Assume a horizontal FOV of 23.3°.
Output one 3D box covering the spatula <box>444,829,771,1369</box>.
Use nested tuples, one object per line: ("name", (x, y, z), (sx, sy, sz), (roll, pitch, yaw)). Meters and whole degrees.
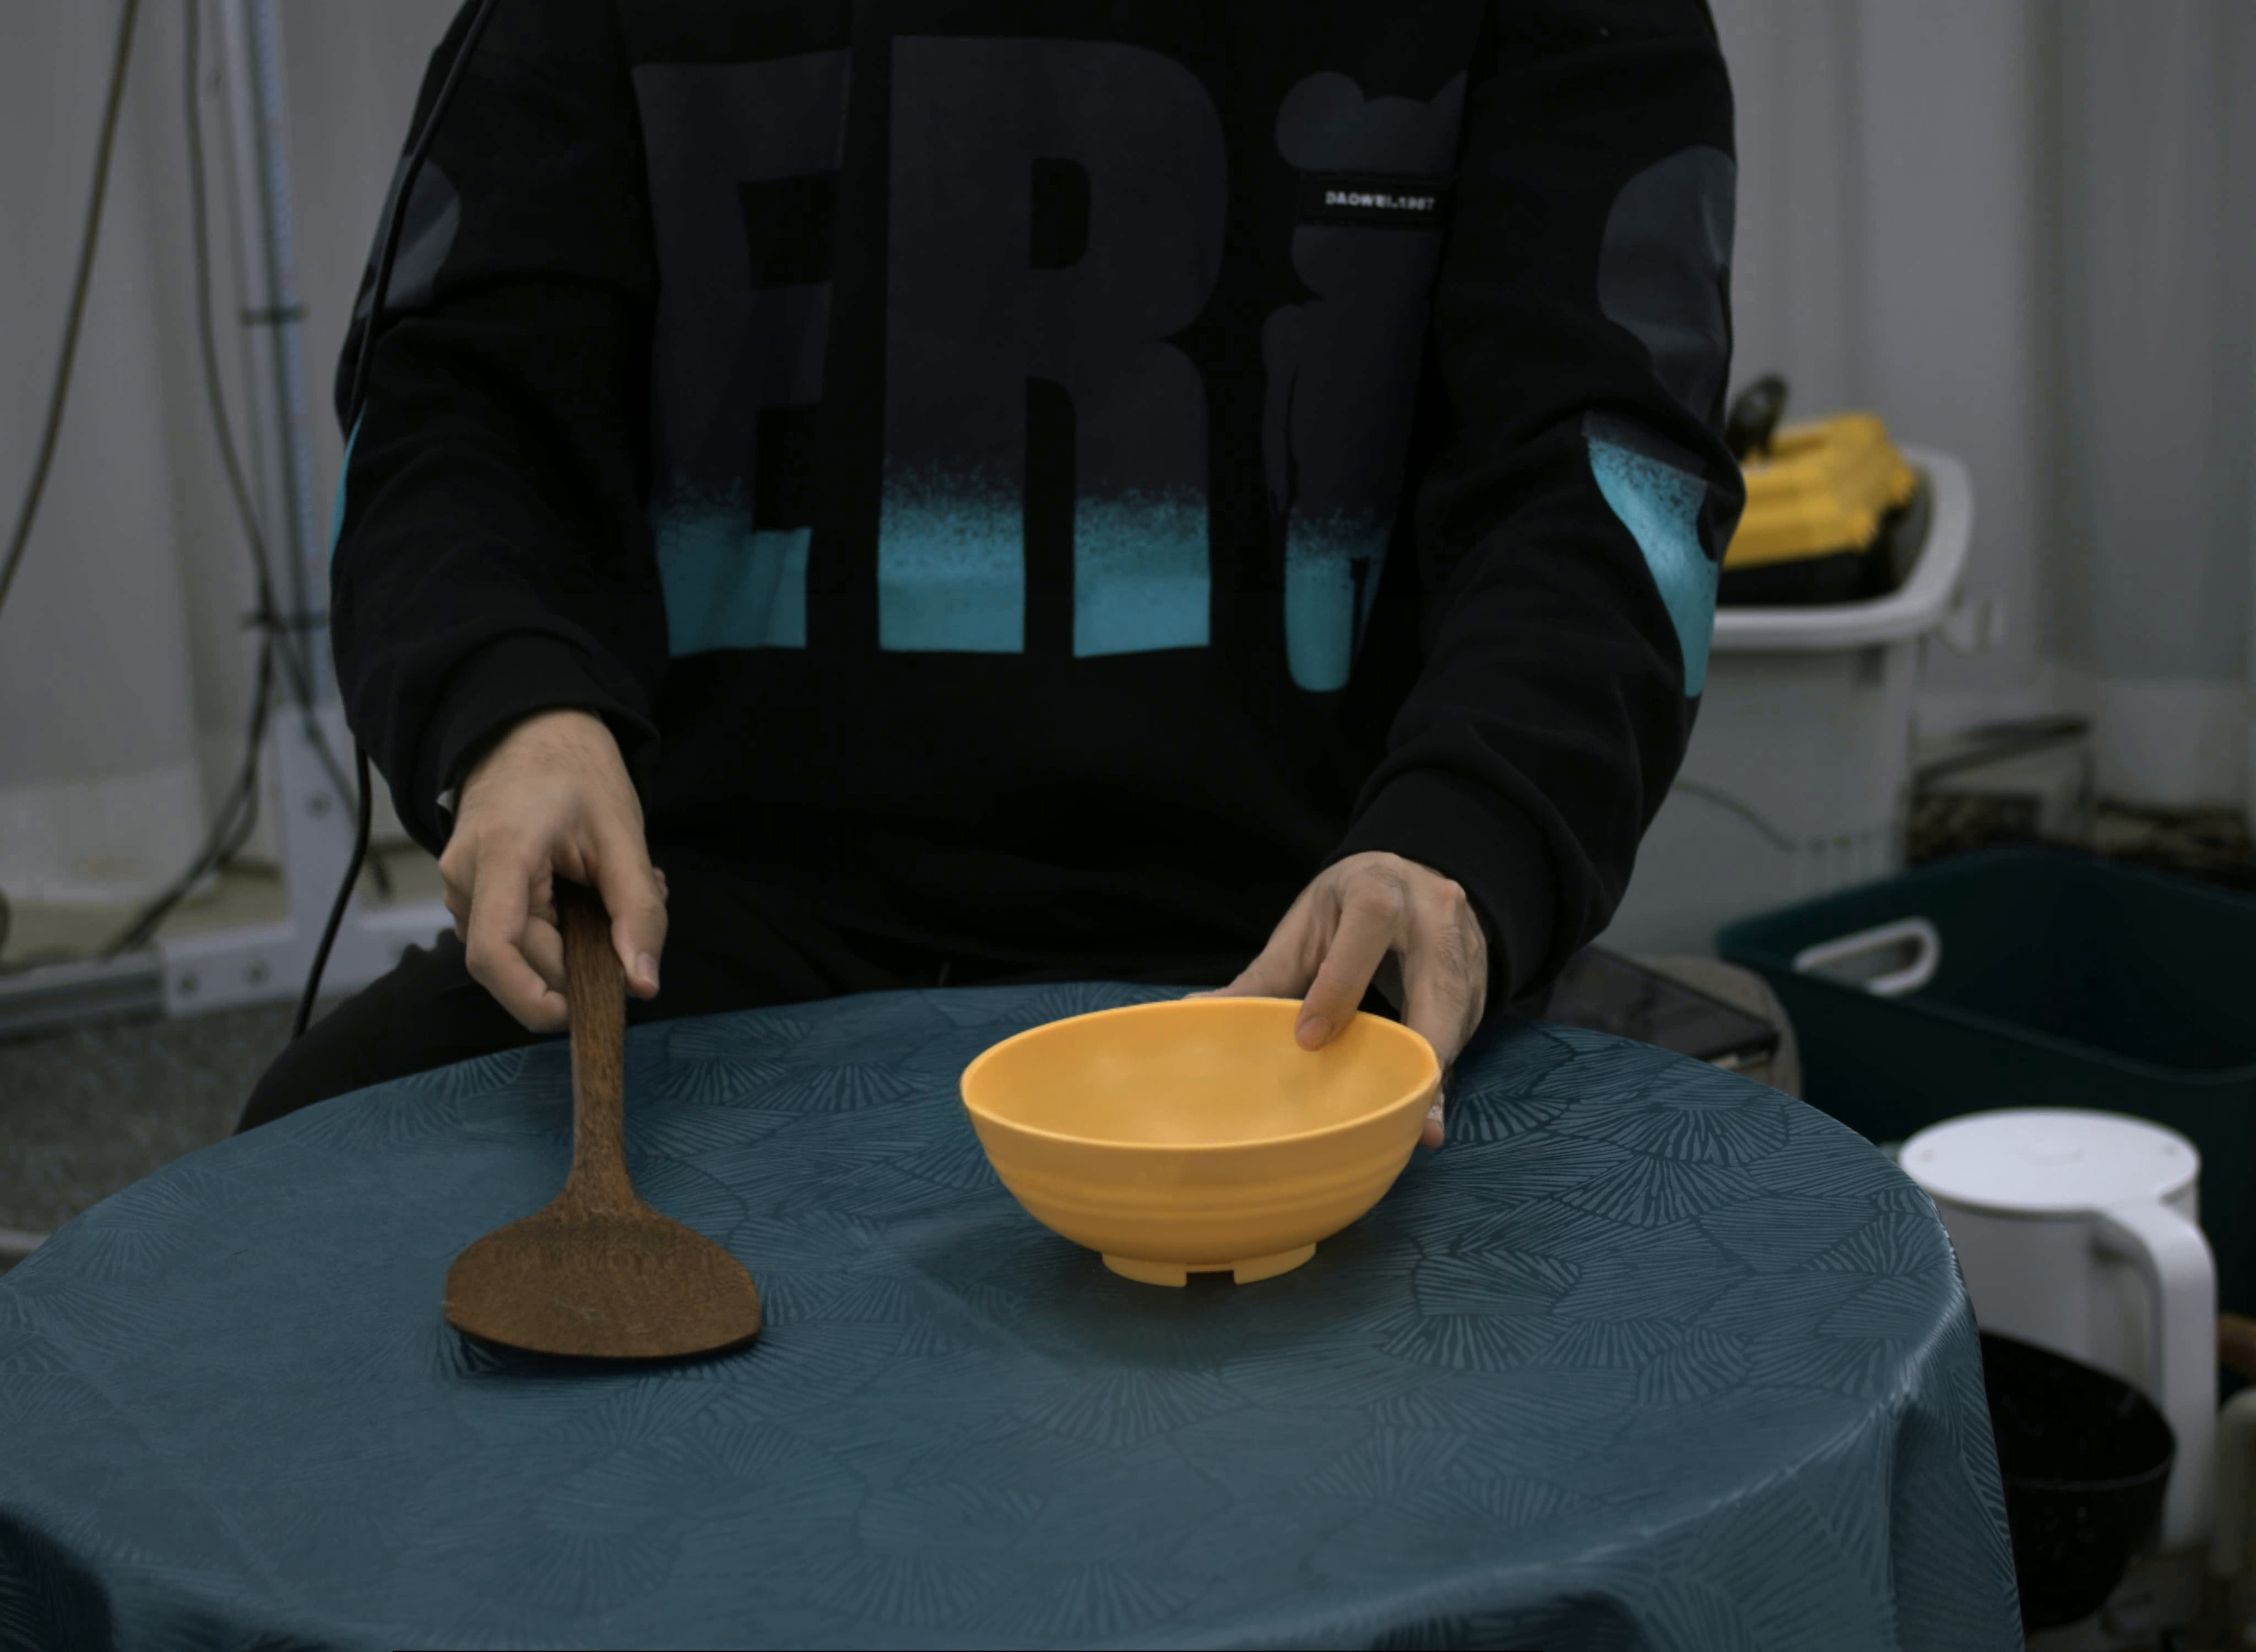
("spatula", (-0.169, 0.079, 1.752), (0.095, 0.015, 0.390), (3, 23, -8))

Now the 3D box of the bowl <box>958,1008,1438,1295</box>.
("bowl", (0.021, 0.103, 1.649), (0.145, 0.060, 0.146), (-1, 13, 0))
